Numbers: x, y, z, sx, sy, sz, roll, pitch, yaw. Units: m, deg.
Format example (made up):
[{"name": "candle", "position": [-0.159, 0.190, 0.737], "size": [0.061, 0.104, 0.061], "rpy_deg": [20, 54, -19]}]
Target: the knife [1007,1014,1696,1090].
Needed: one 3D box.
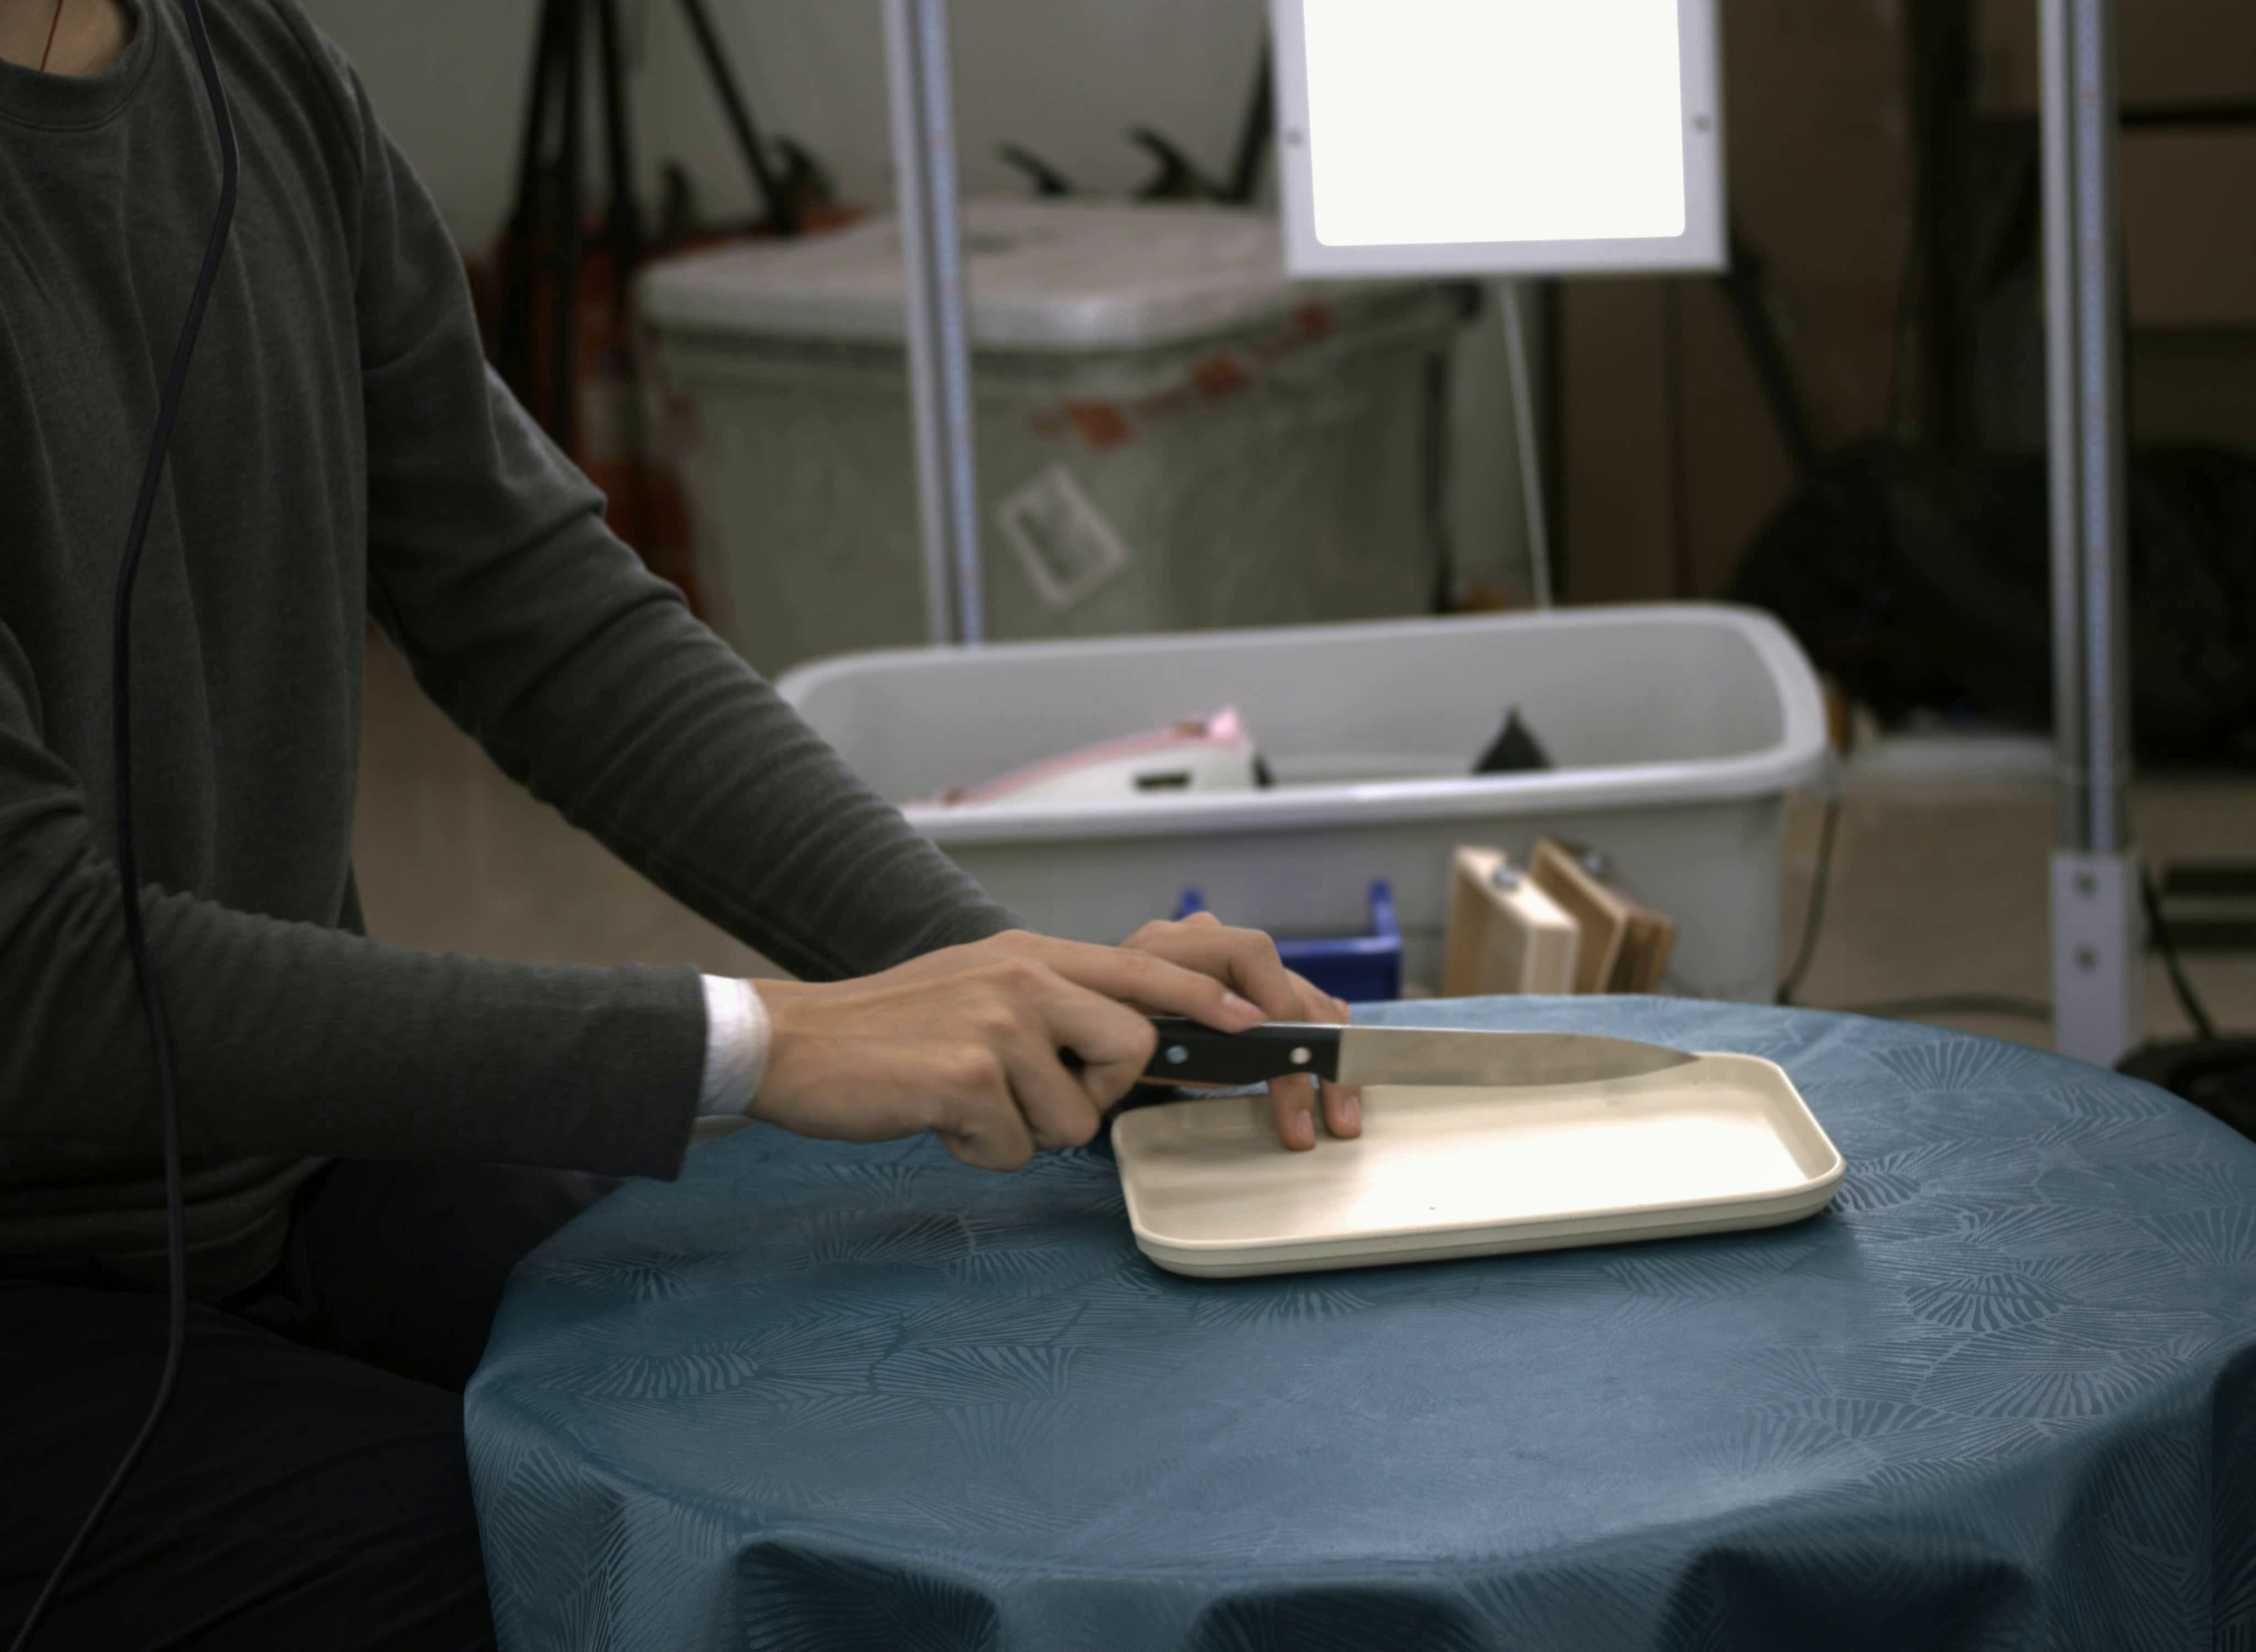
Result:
[{"name": "knife", "position": [0.078, 0.077, 1.879], "size": [0.237, 0.024, 0.016], "rpy_deg": [2, 21, -1]}]

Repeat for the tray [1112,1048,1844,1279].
[{"name": "tray", "position": [0.117, 0.115, 1.870], "size": [0.239, 0.017, 0.171], "rpy_deg": [-5, 14, 0]}]
